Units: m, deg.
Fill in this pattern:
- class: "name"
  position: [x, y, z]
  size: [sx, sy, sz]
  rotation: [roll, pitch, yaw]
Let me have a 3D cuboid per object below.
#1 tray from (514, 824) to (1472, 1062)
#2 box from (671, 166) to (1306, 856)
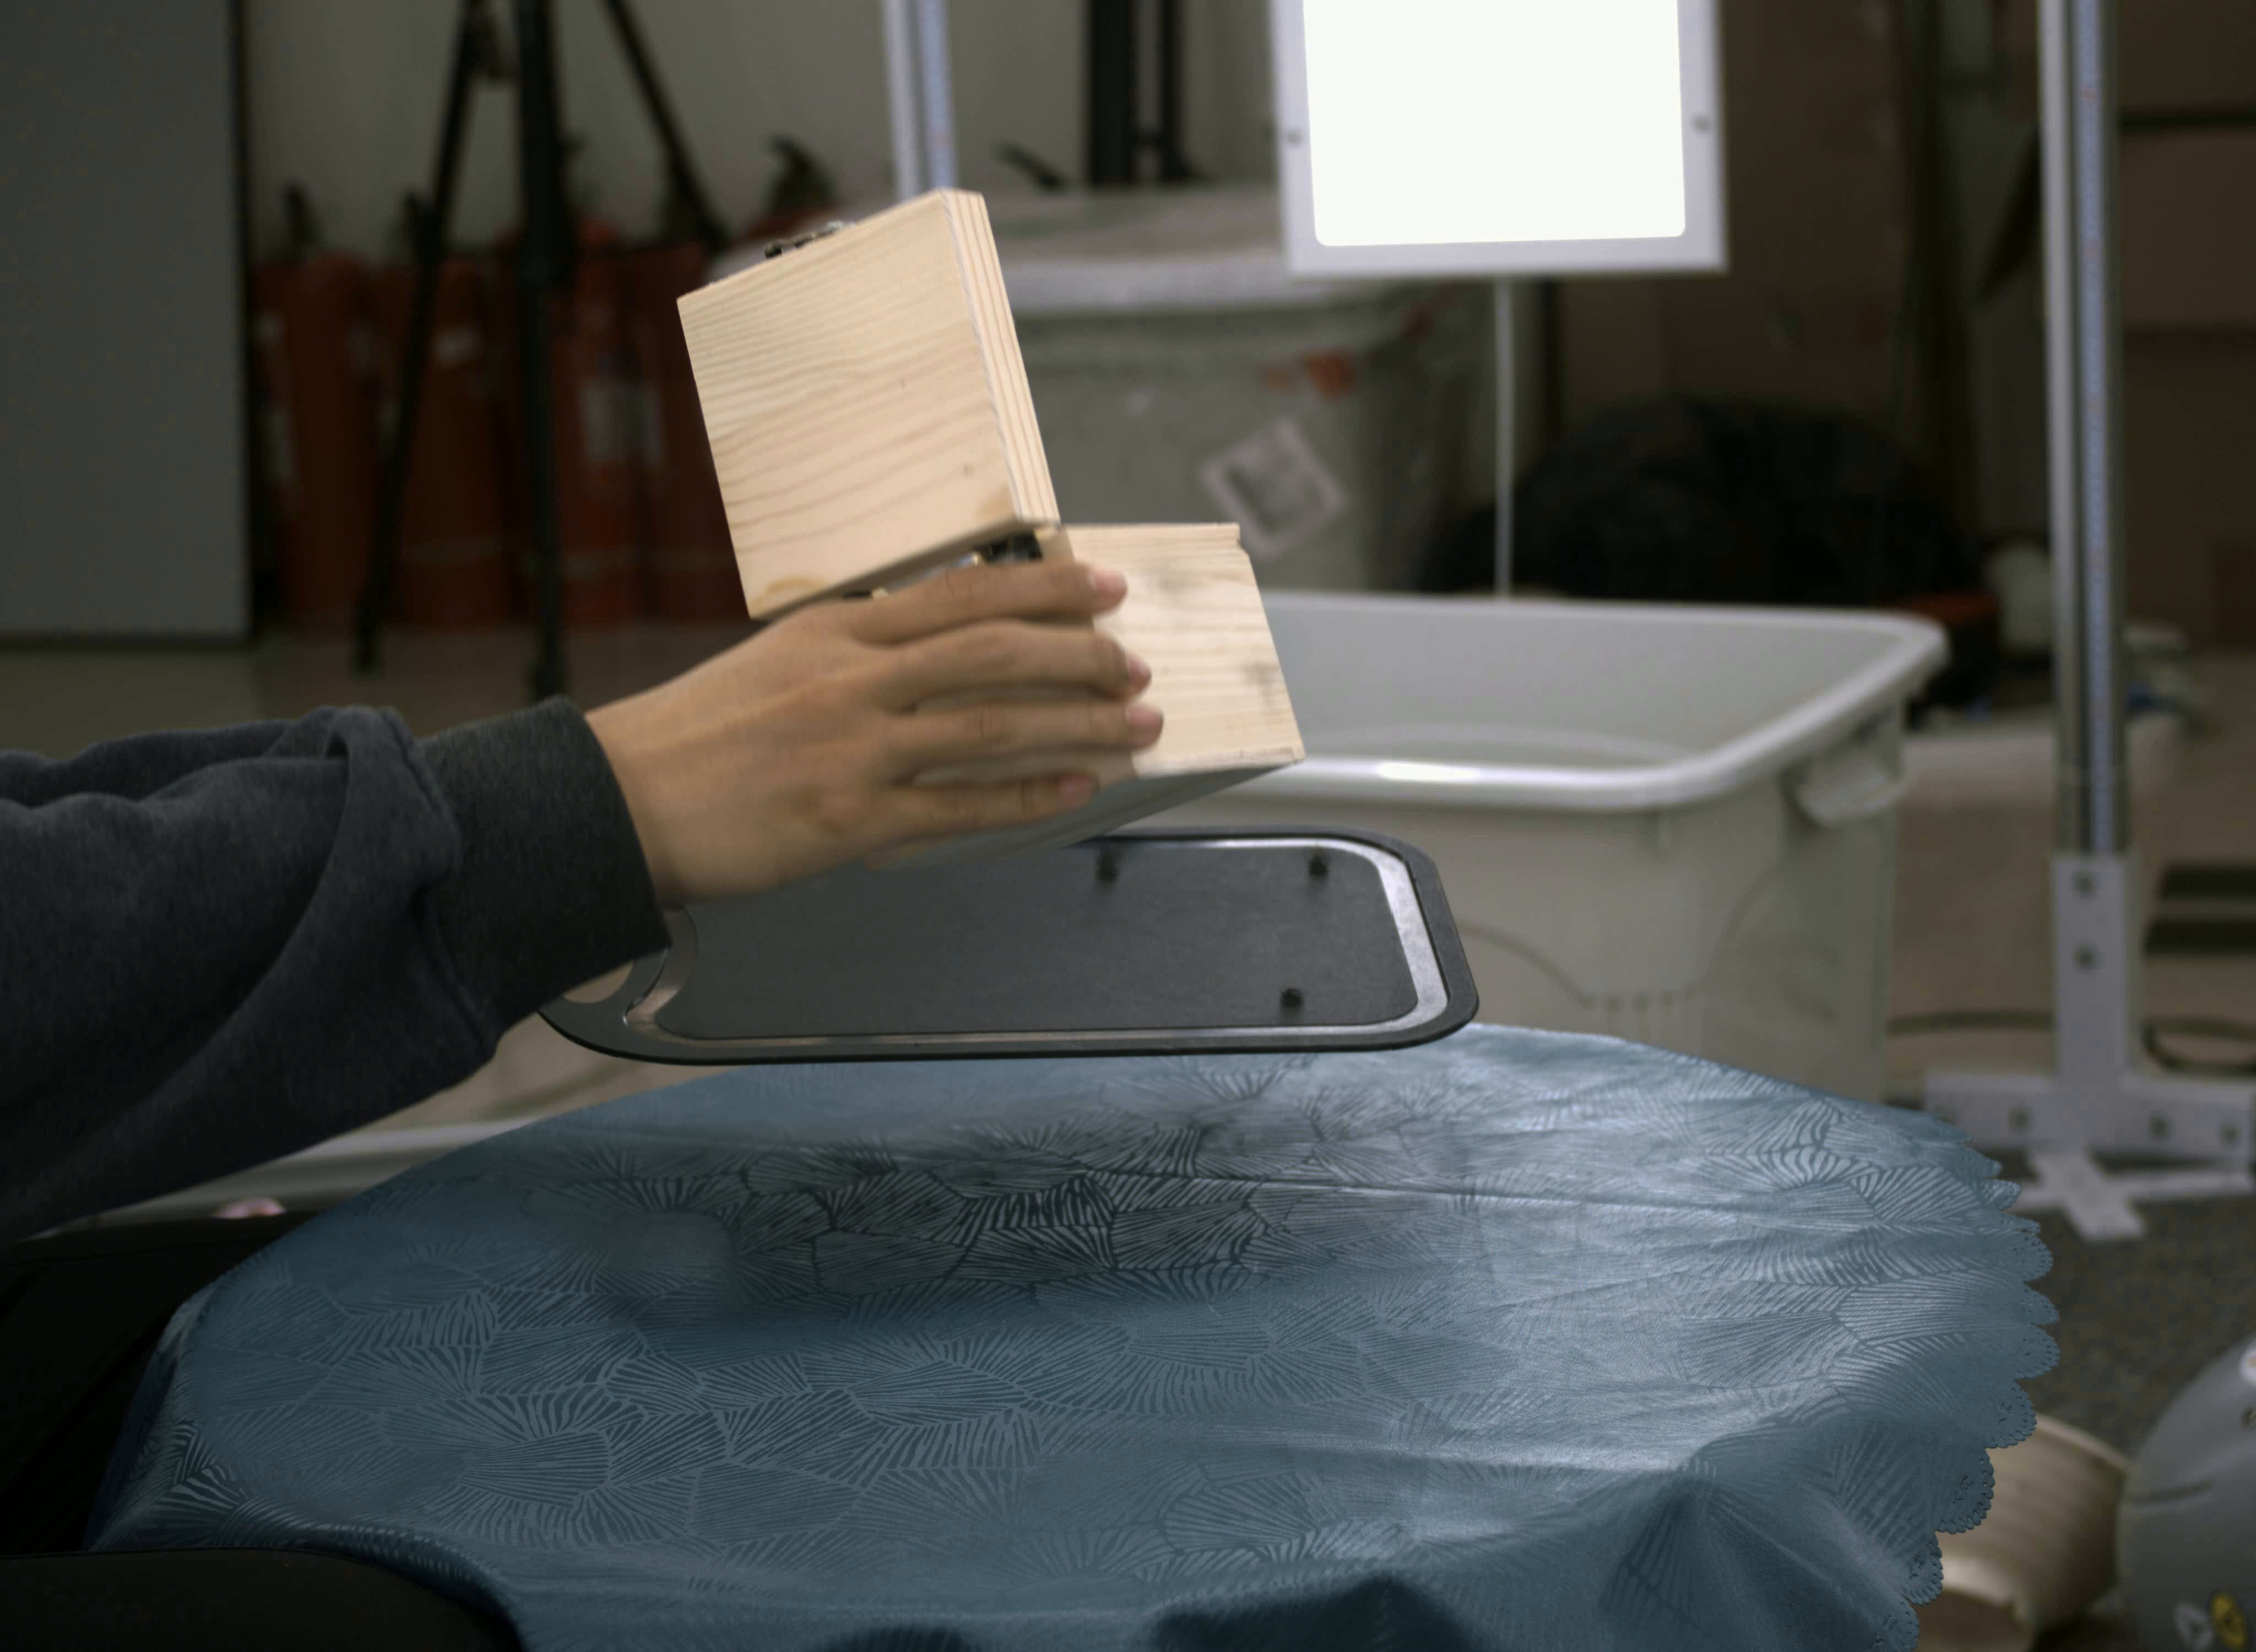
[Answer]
- class: "tray"
  position: [-0.049, 0.037, 1.893]
  size: [0.324, 0.010, 0.210]
  rotation: [-1, 20, -1]
- class: "box"
  position: [-0.041, -0.095, 1.662]
  size: [0.105, 0.185, 0.131]
  rotation: [-20, -8, 32]
